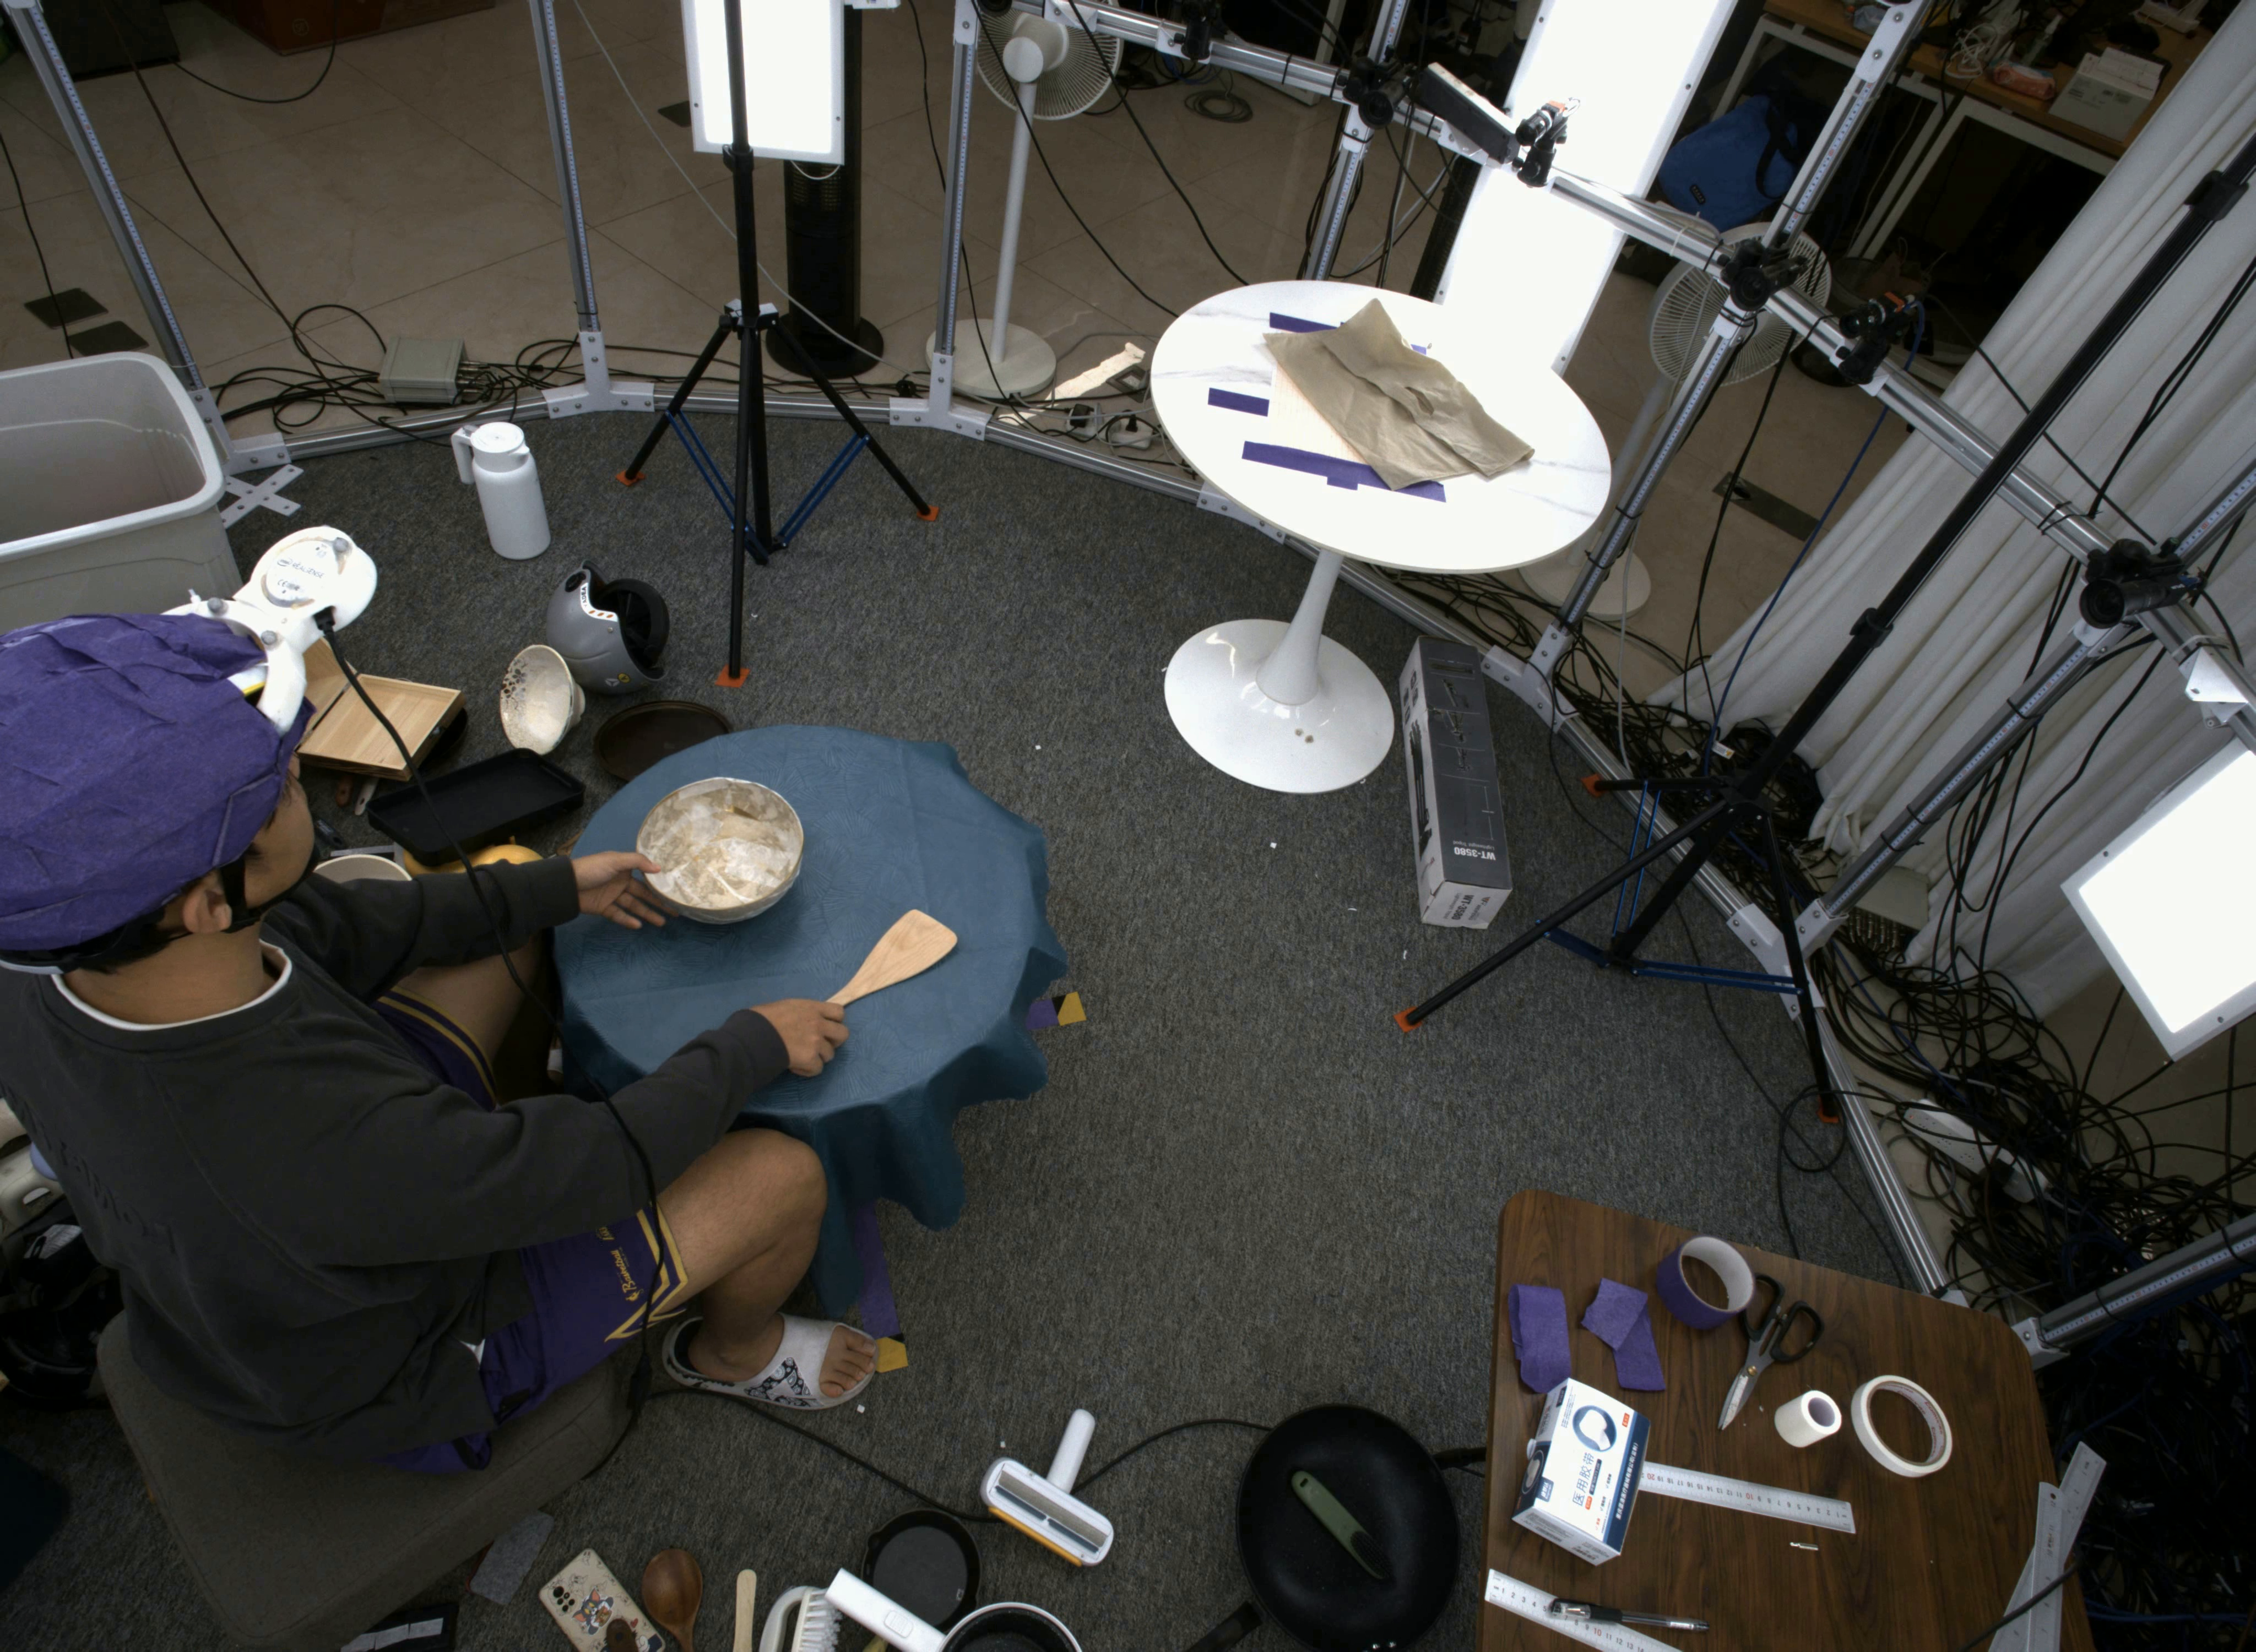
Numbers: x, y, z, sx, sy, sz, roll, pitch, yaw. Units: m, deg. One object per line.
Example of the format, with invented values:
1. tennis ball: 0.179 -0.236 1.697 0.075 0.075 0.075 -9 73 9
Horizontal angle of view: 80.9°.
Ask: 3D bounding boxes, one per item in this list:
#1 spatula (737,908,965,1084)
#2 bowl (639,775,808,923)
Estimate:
1. spatula: -0.342 0.205 1.586 0.078 0.017 0.328 42 55 17
2. bowl: -0.503 0.044 1.613 0.214 0.096 0.211 8 52 -9
